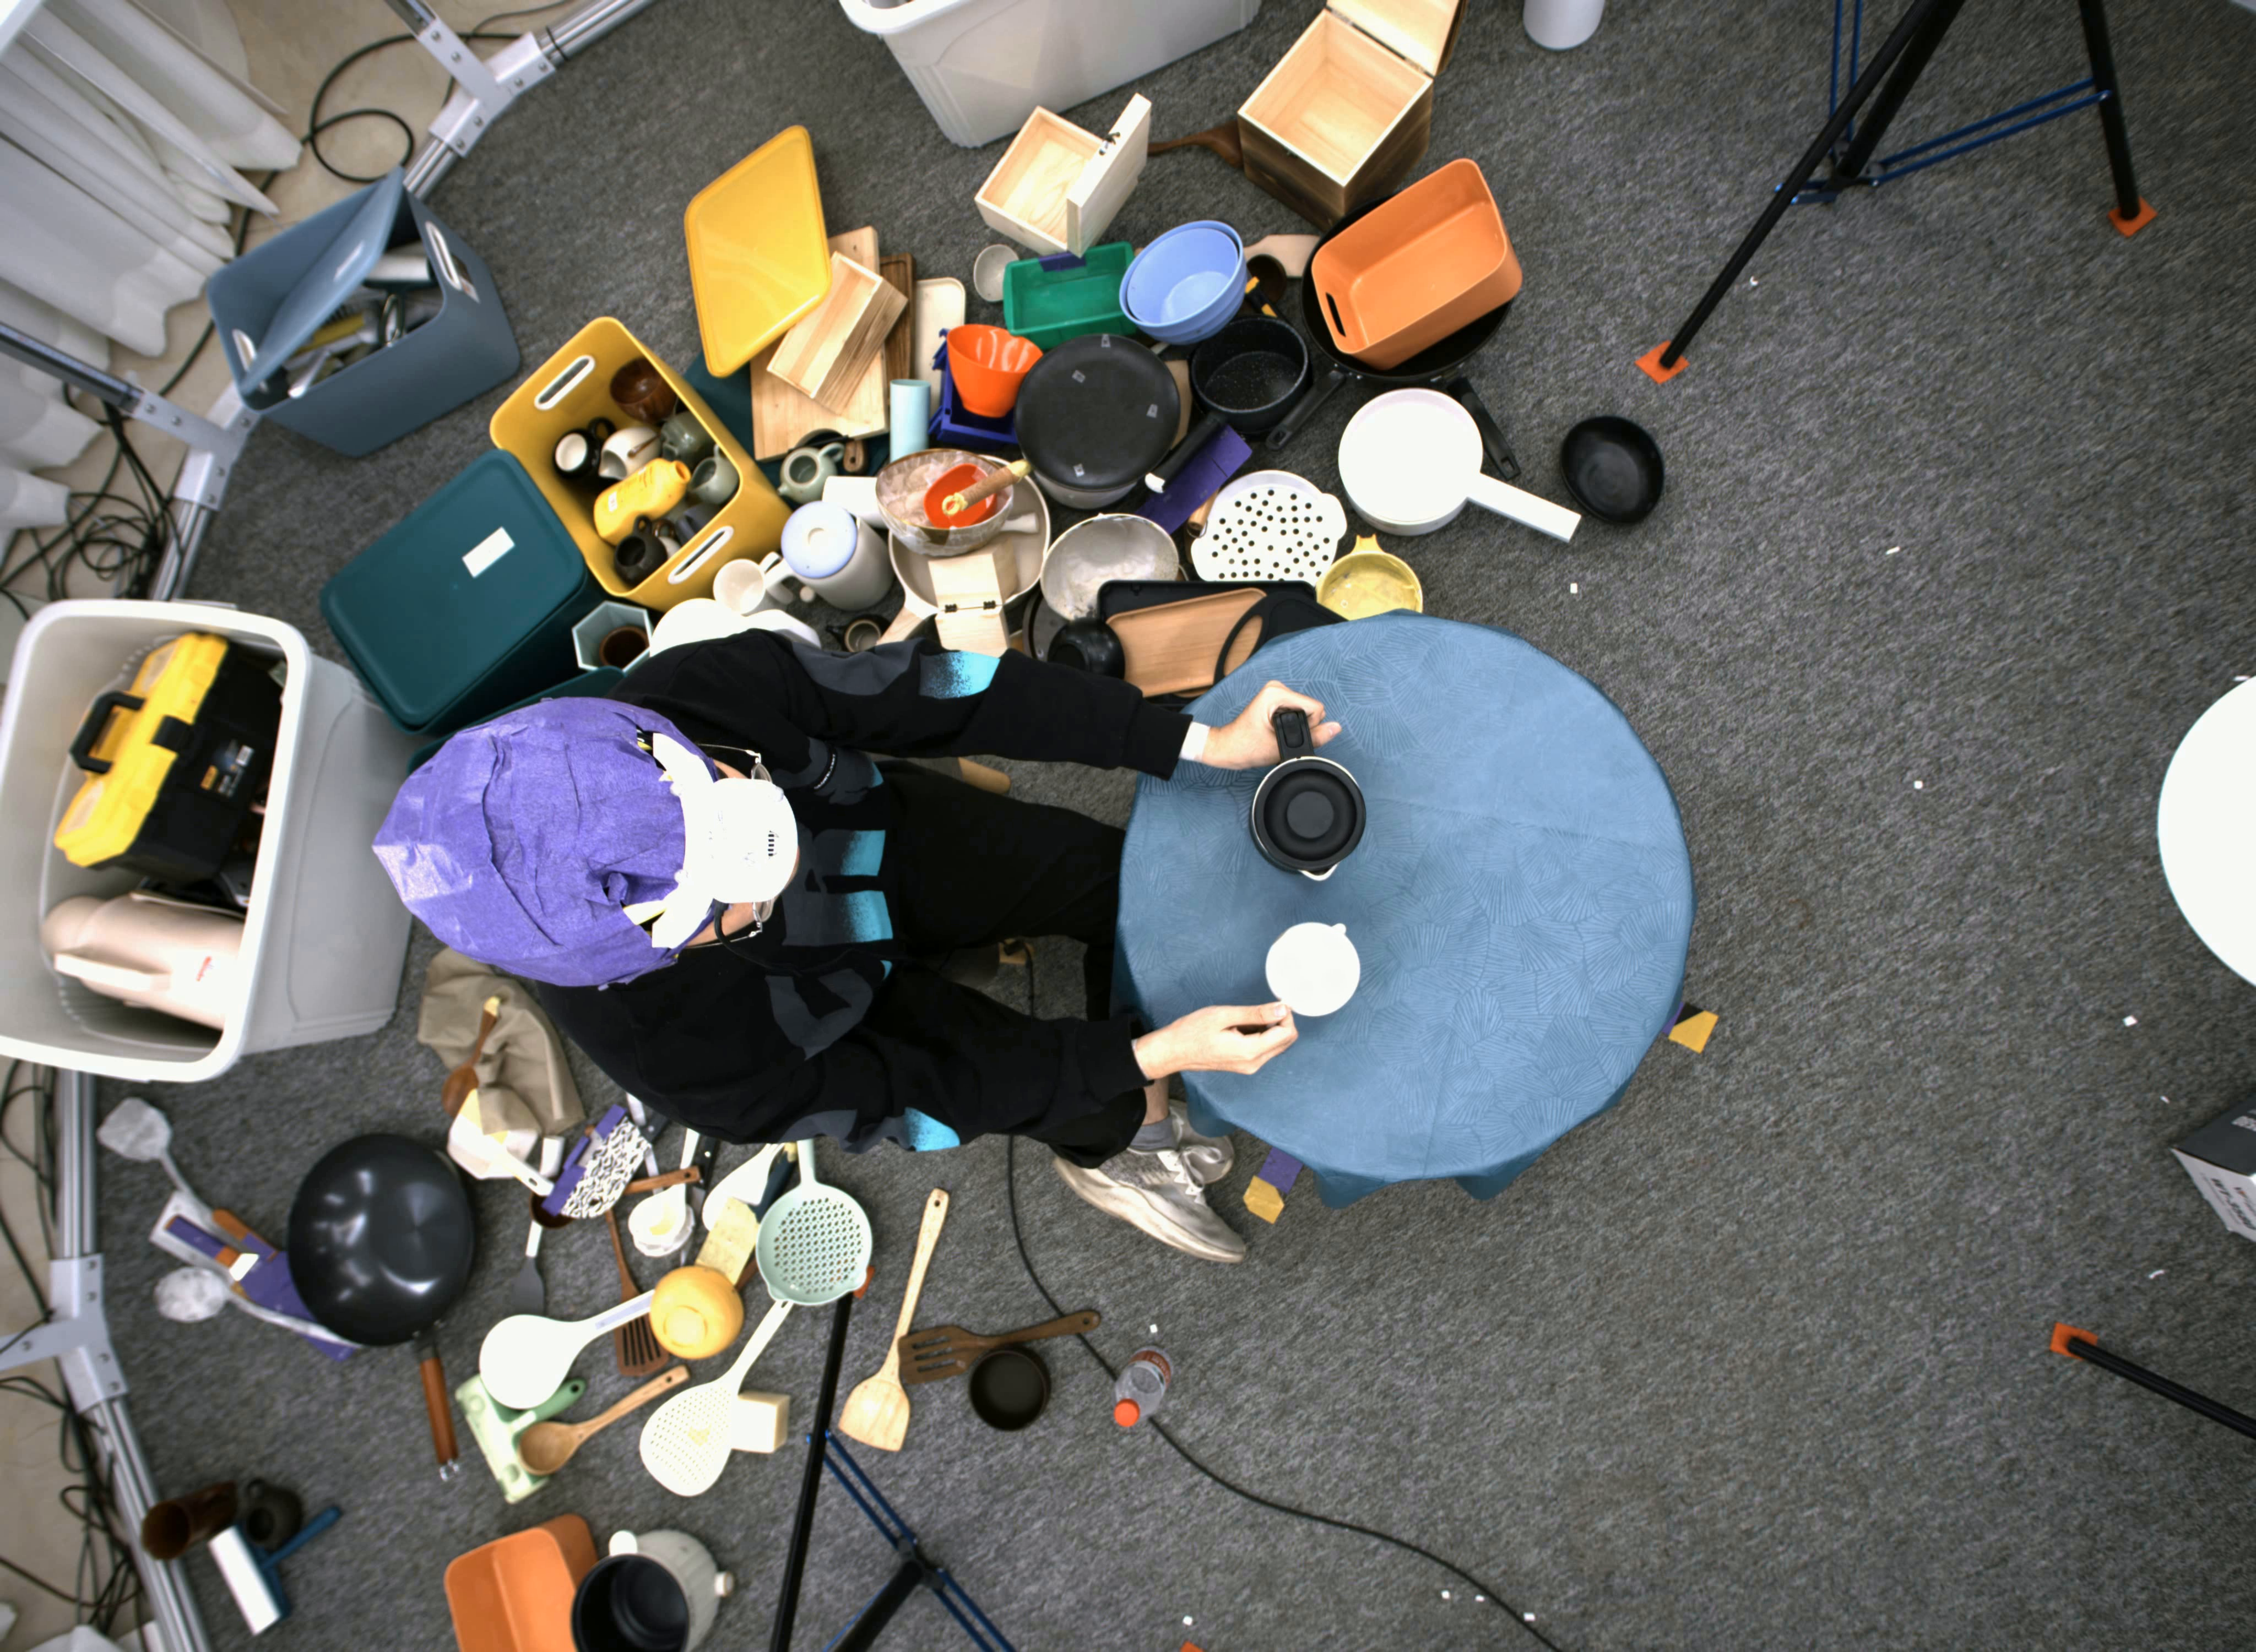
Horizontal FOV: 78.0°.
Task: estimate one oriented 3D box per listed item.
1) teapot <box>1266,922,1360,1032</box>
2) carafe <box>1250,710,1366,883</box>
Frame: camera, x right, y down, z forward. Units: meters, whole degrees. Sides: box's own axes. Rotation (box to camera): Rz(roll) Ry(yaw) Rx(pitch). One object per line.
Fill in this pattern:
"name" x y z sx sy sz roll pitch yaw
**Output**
"teapot" 0.178 0.151 1.382 0.093 0.057 0.127 30 90 9
"carafe" 0.172 -0.031 1.377 0.115 0.173 0.171 -12 90 7
